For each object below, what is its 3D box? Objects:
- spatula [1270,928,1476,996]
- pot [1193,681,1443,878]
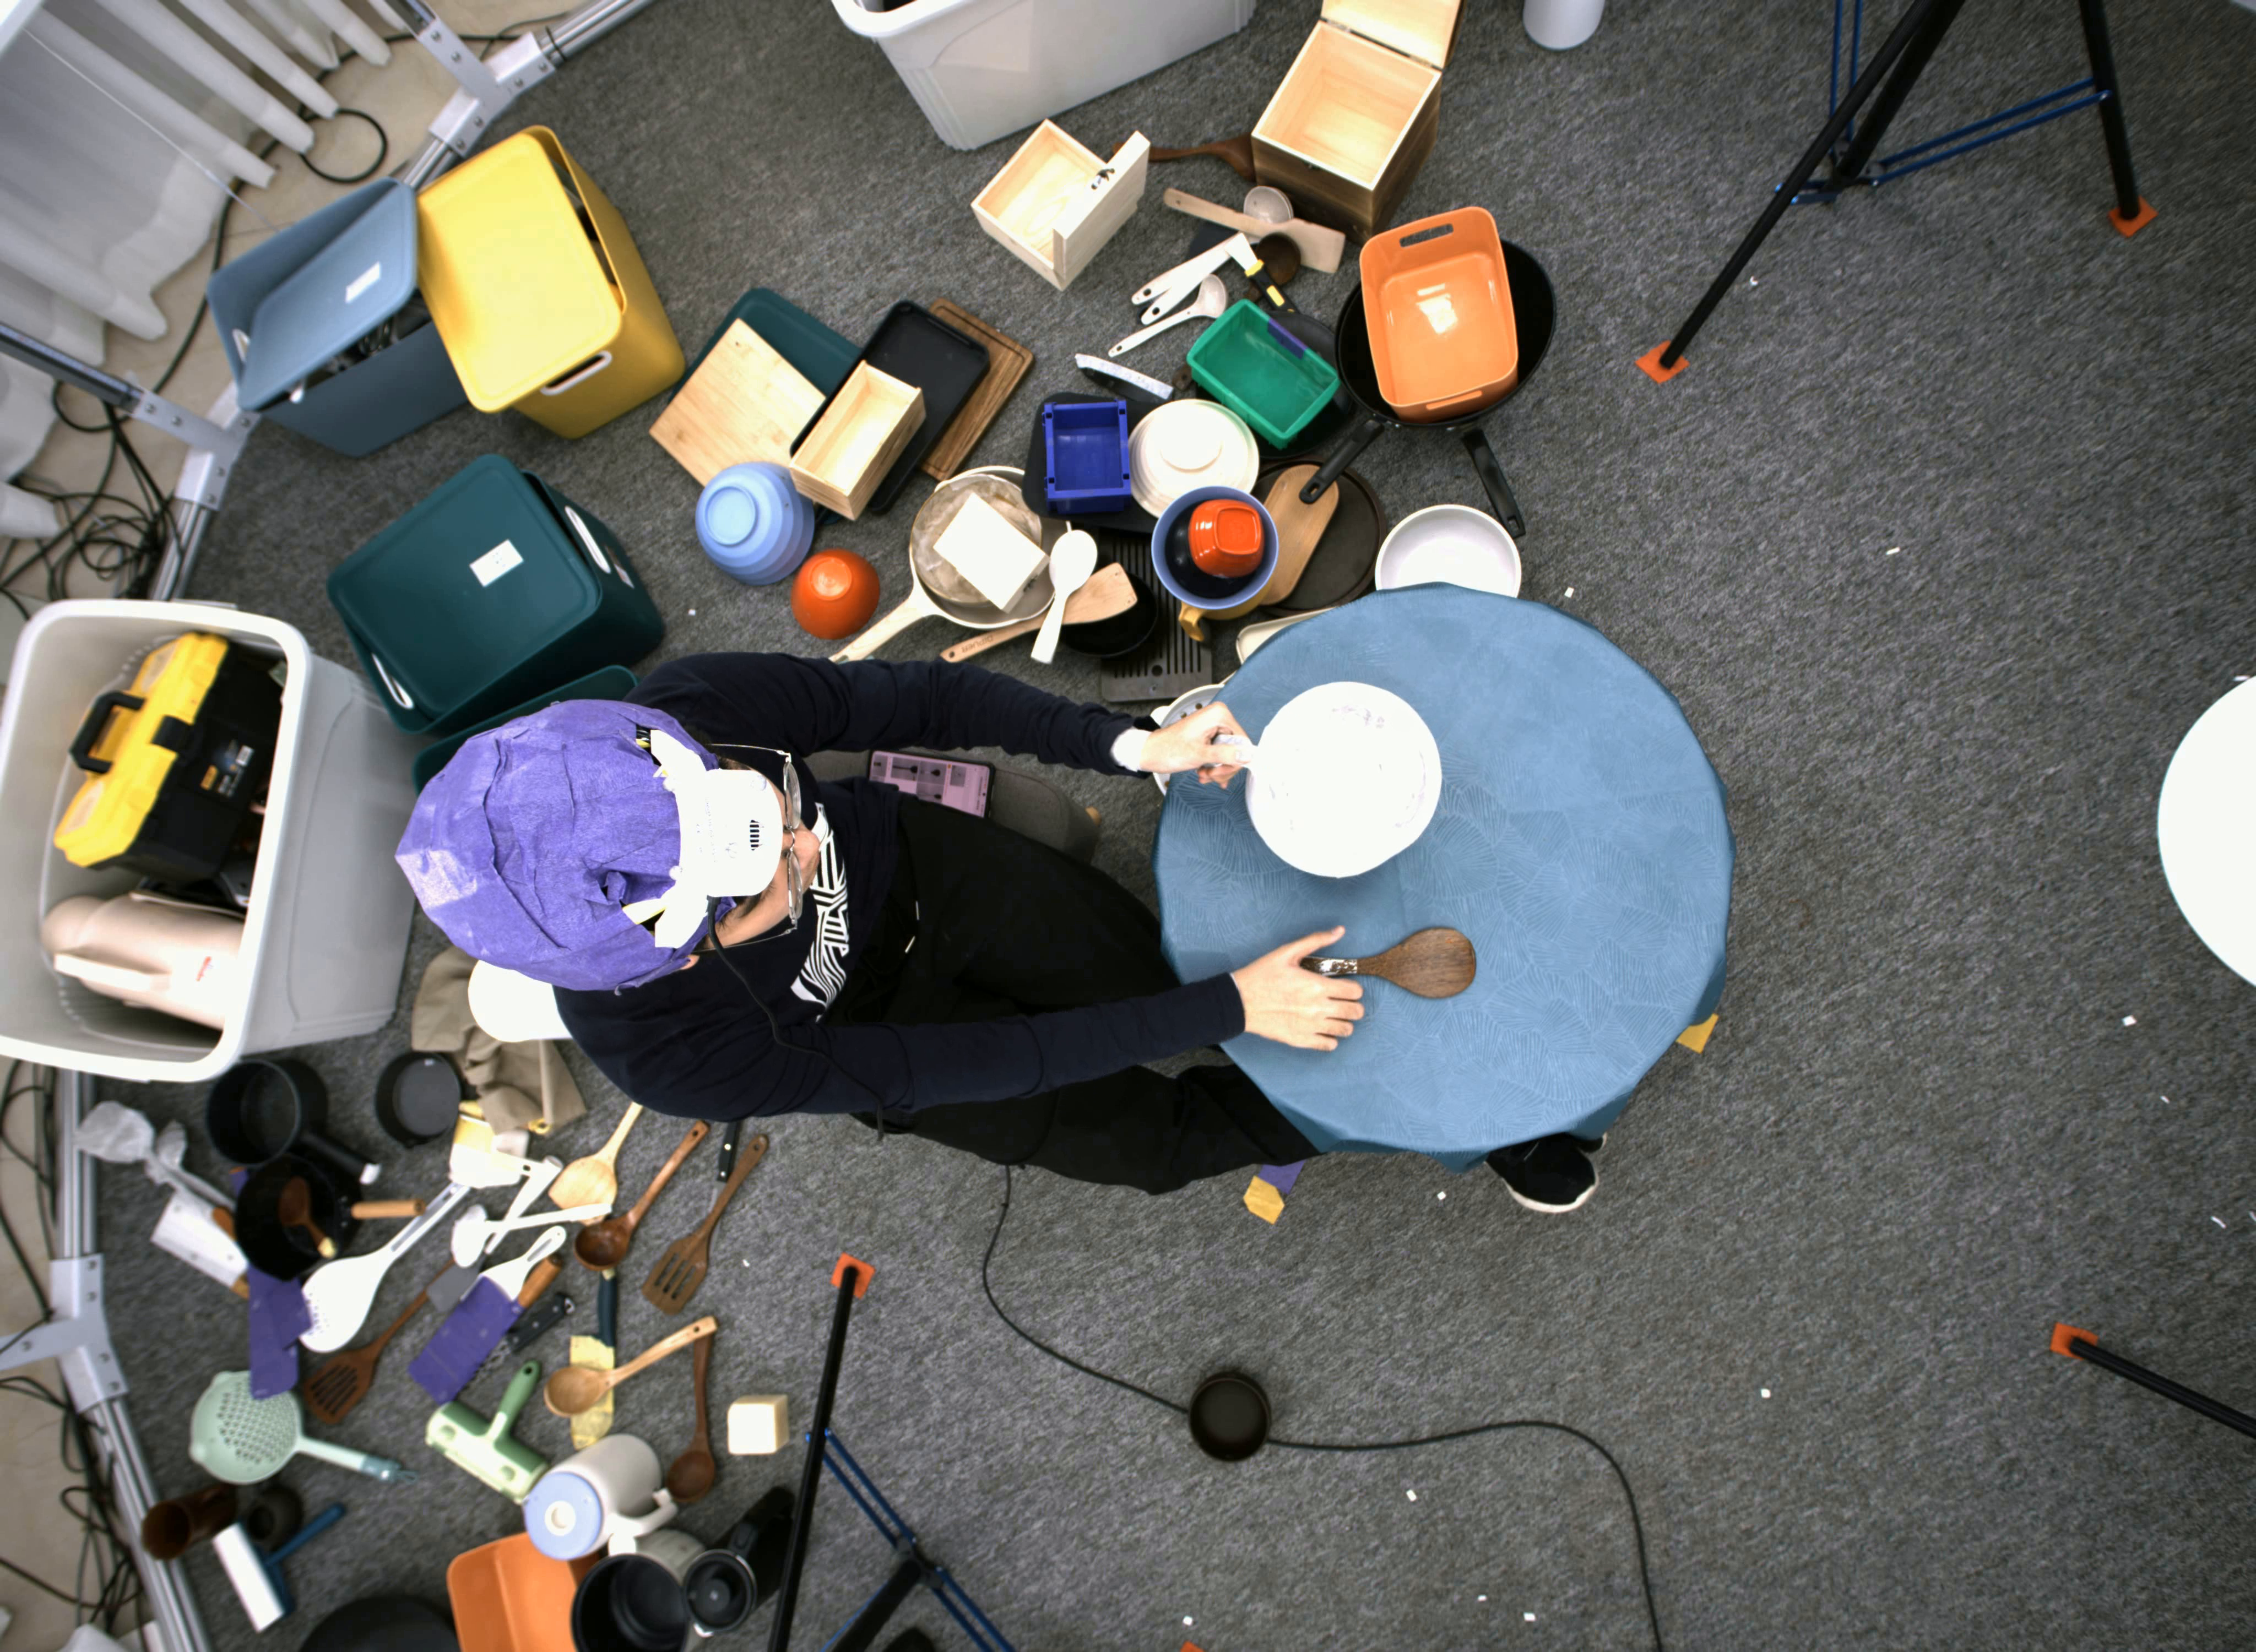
[{"bbox_3d":[0.257,0.145,1.456,0.217,0.009,0.071,-3,85,11],"label":"spatula"},{"bbox_3d":[0.181,-0.048,1.362,0.234,0.137,0.177,13,82,0],"label":"pot"}]
